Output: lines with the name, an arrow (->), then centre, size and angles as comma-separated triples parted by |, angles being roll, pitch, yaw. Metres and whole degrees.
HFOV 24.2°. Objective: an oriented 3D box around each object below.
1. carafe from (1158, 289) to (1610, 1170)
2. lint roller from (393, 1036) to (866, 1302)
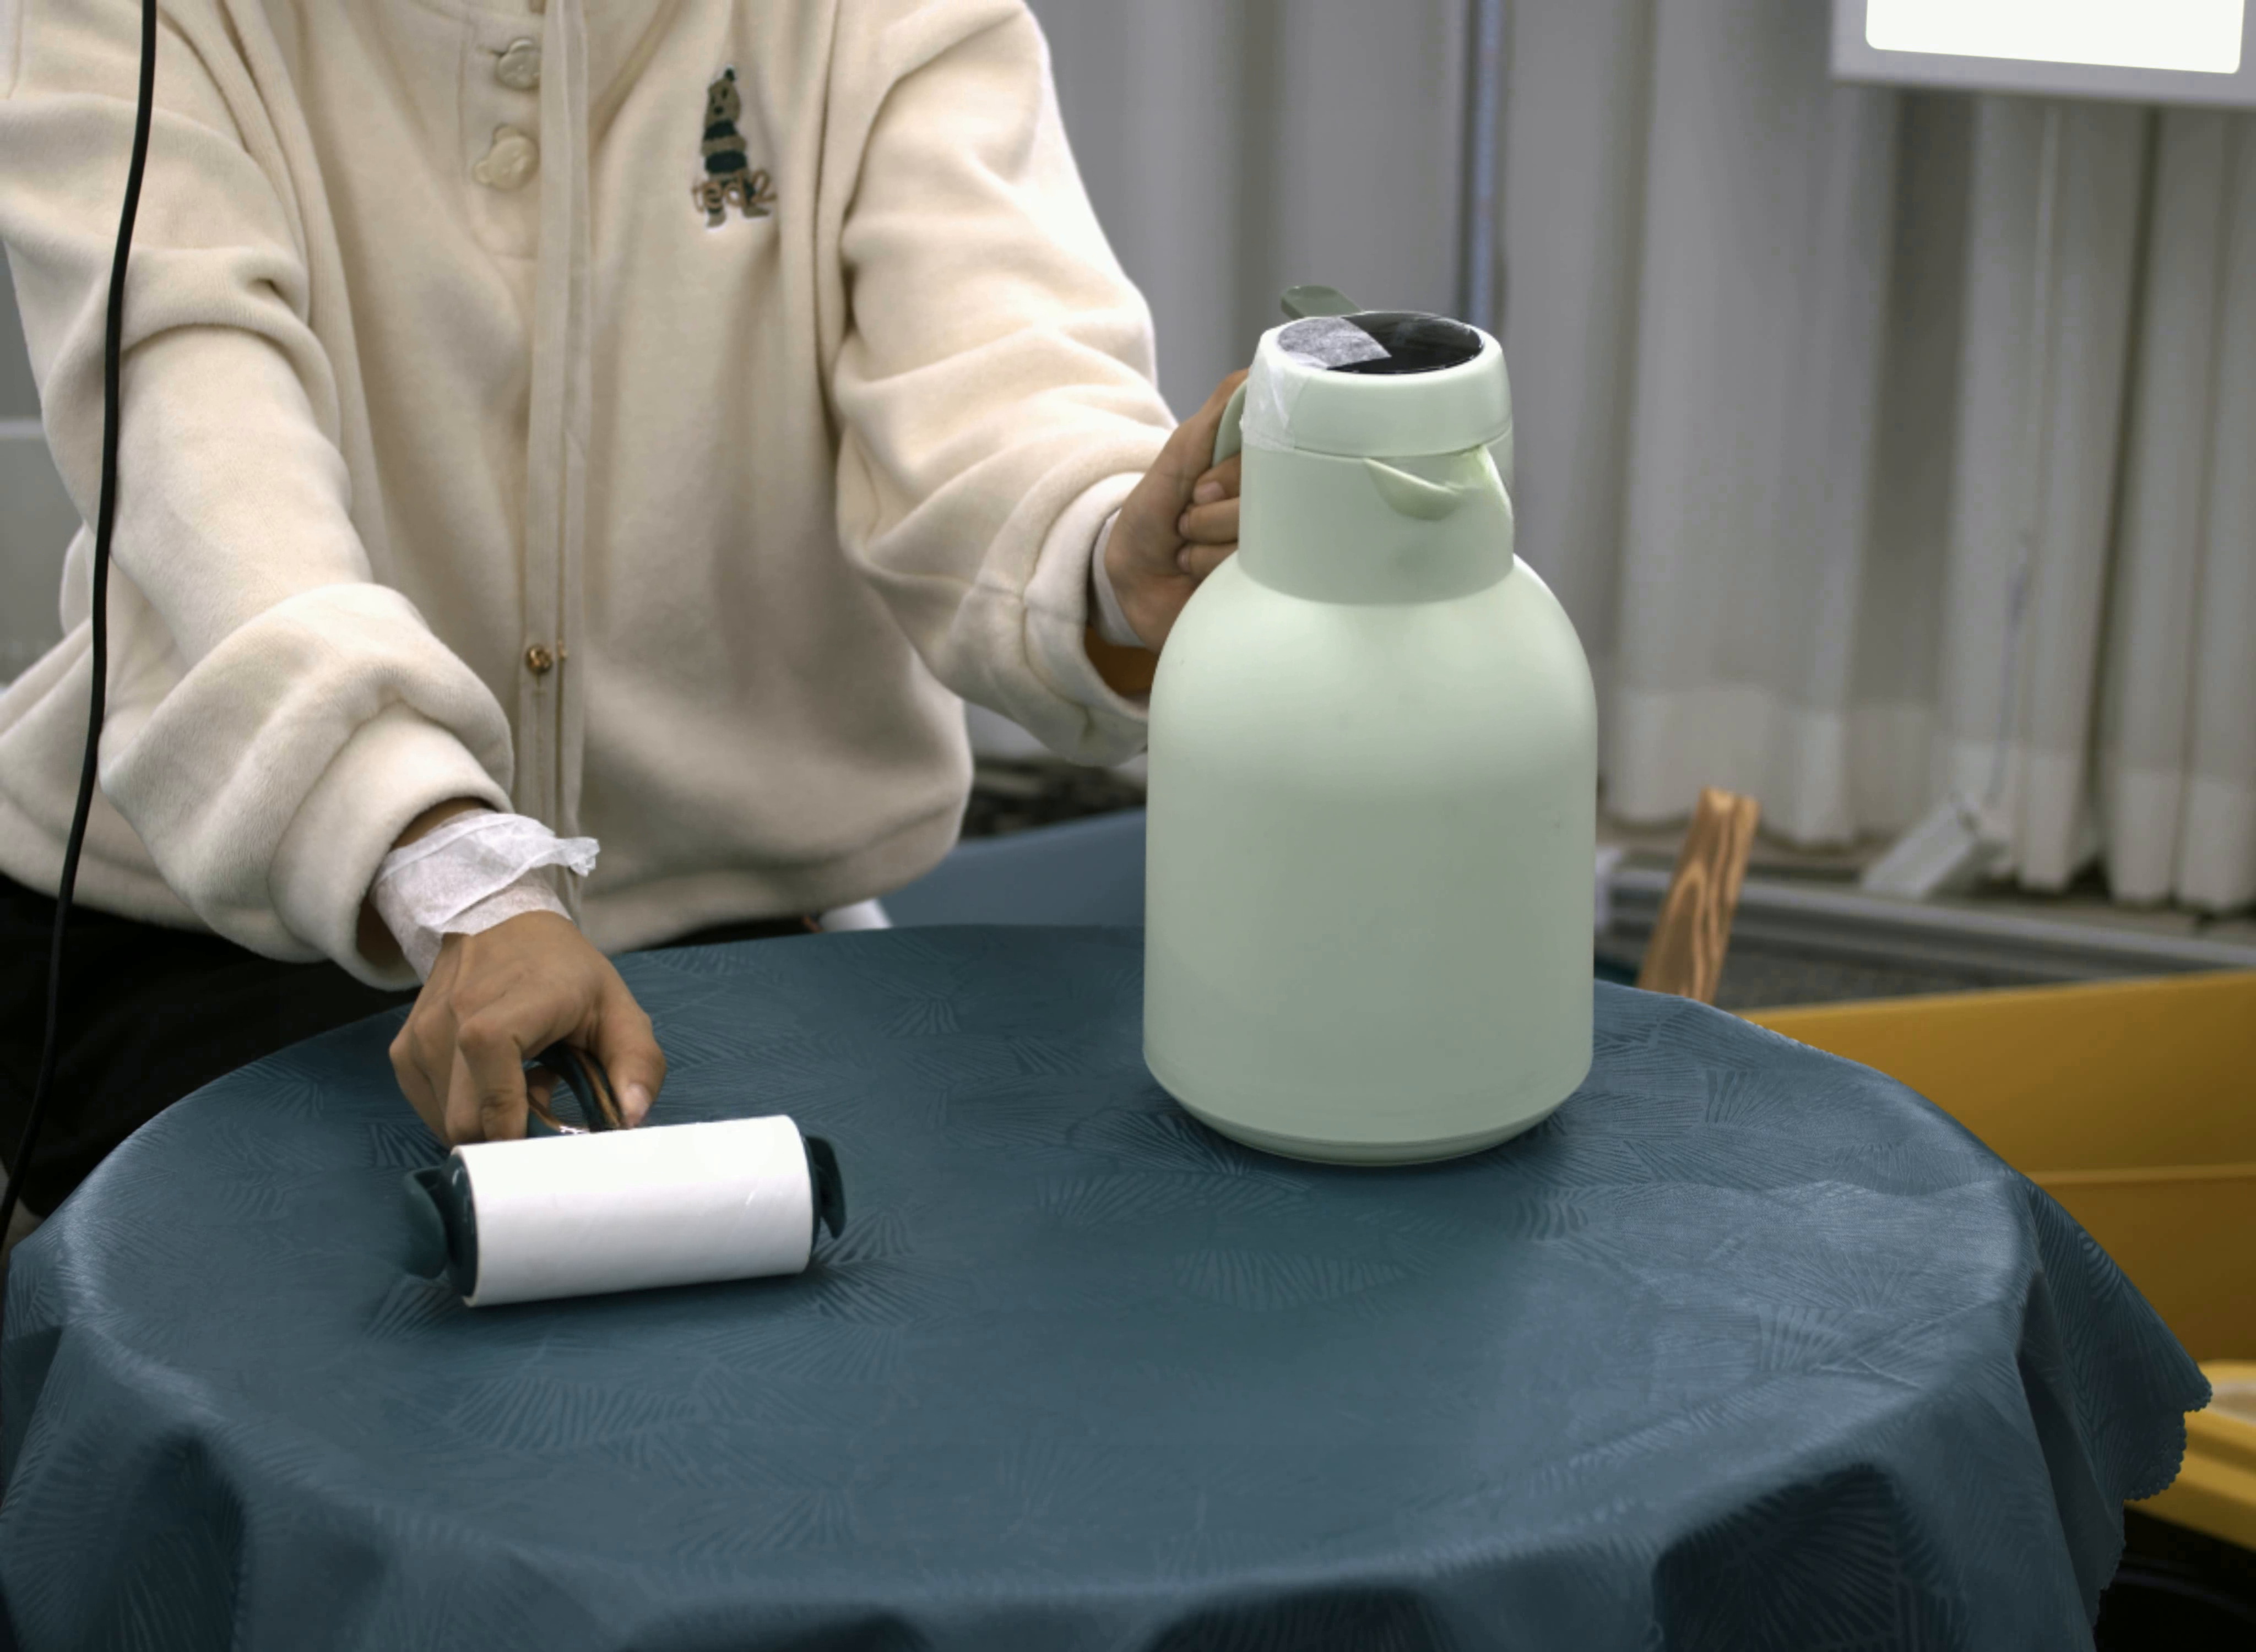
carafe -> 0.074, -0.036, 1.664 | 0.144, 0.259, 0.184 | -9, 20, -18
lint roller -> -0.166, 0.085, 1.587 | 0.134, 0.049, 0.178 | -3, 25, -18
